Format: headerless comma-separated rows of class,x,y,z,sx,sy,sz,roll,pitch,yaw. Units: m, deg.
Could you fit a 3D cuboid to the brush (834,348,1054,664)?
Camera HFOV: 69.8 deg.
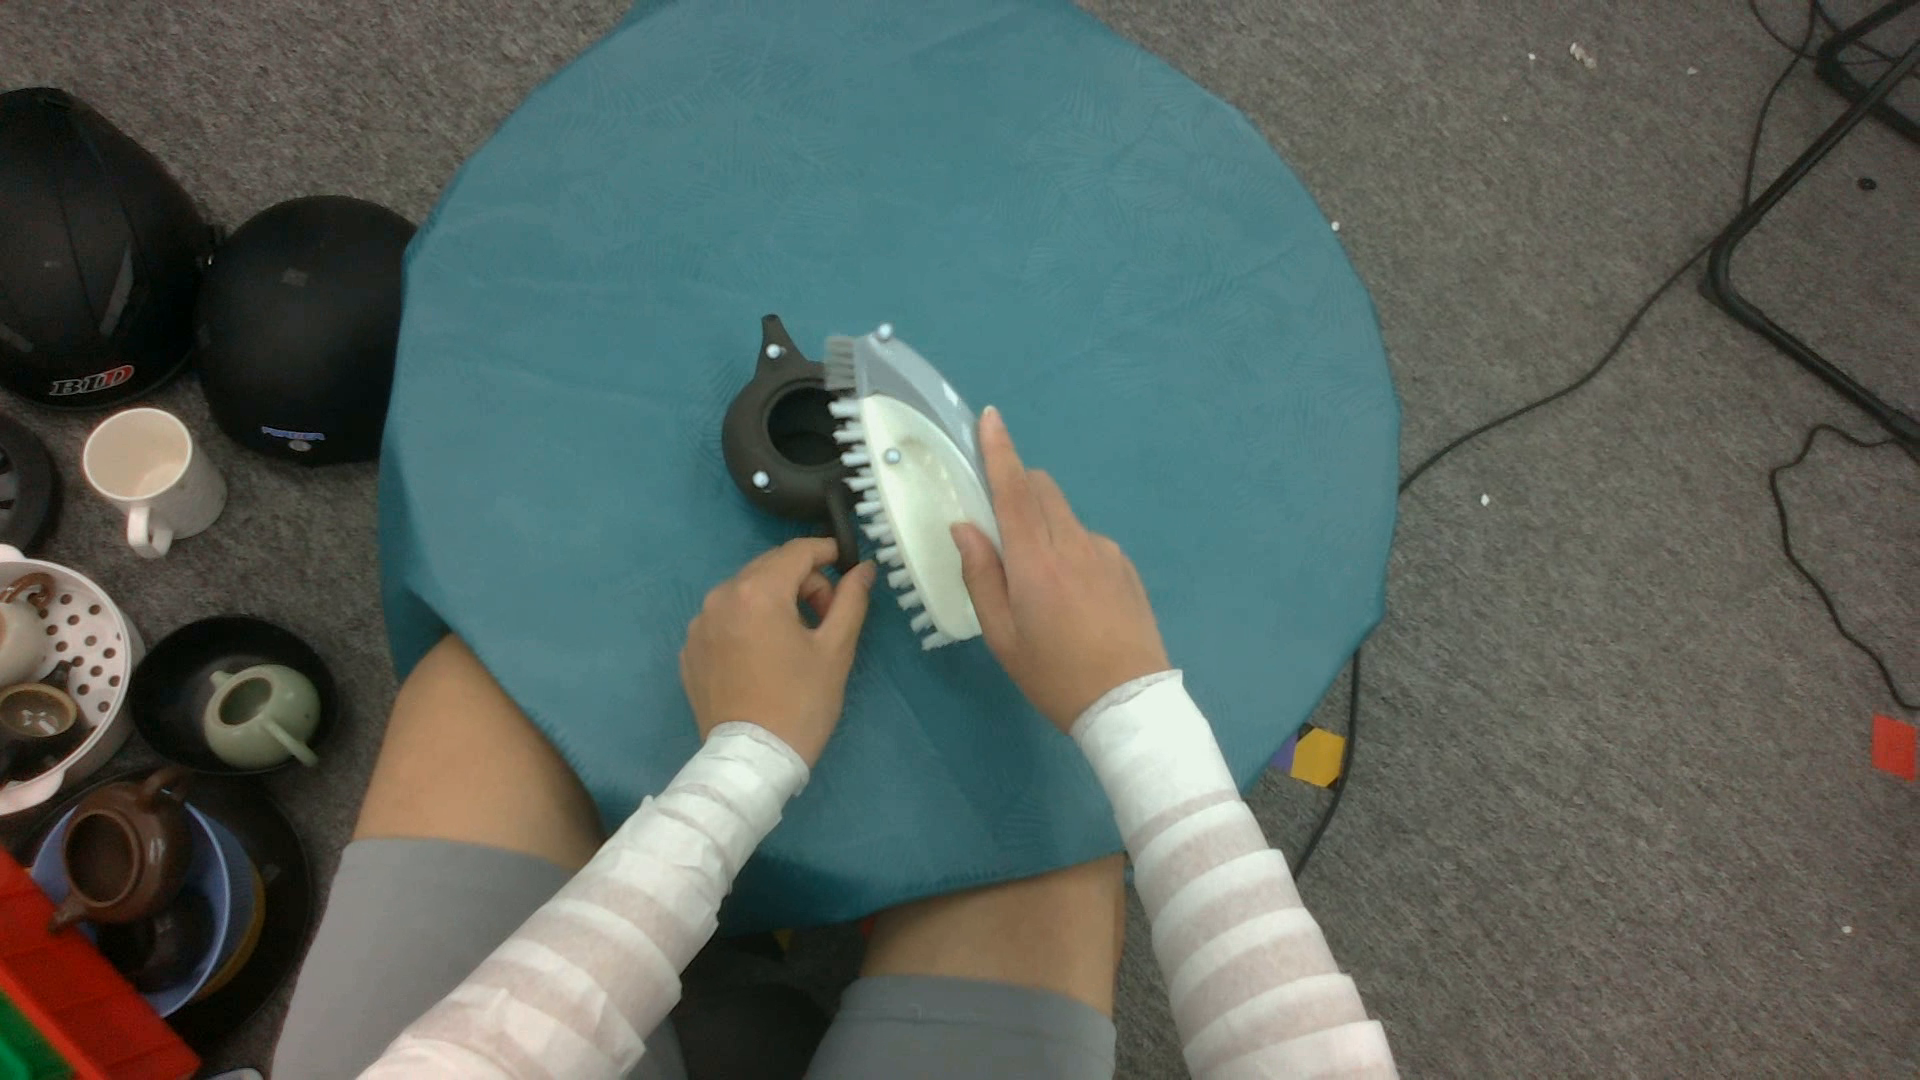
brush,-0.007,-0.026,0.716,0.062,0.094,0.175,-27,94,-38

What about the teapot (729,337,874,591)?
teapot,-0.081,-0.041,0.768,0.092,0.064,0.154,-16,69,-16
